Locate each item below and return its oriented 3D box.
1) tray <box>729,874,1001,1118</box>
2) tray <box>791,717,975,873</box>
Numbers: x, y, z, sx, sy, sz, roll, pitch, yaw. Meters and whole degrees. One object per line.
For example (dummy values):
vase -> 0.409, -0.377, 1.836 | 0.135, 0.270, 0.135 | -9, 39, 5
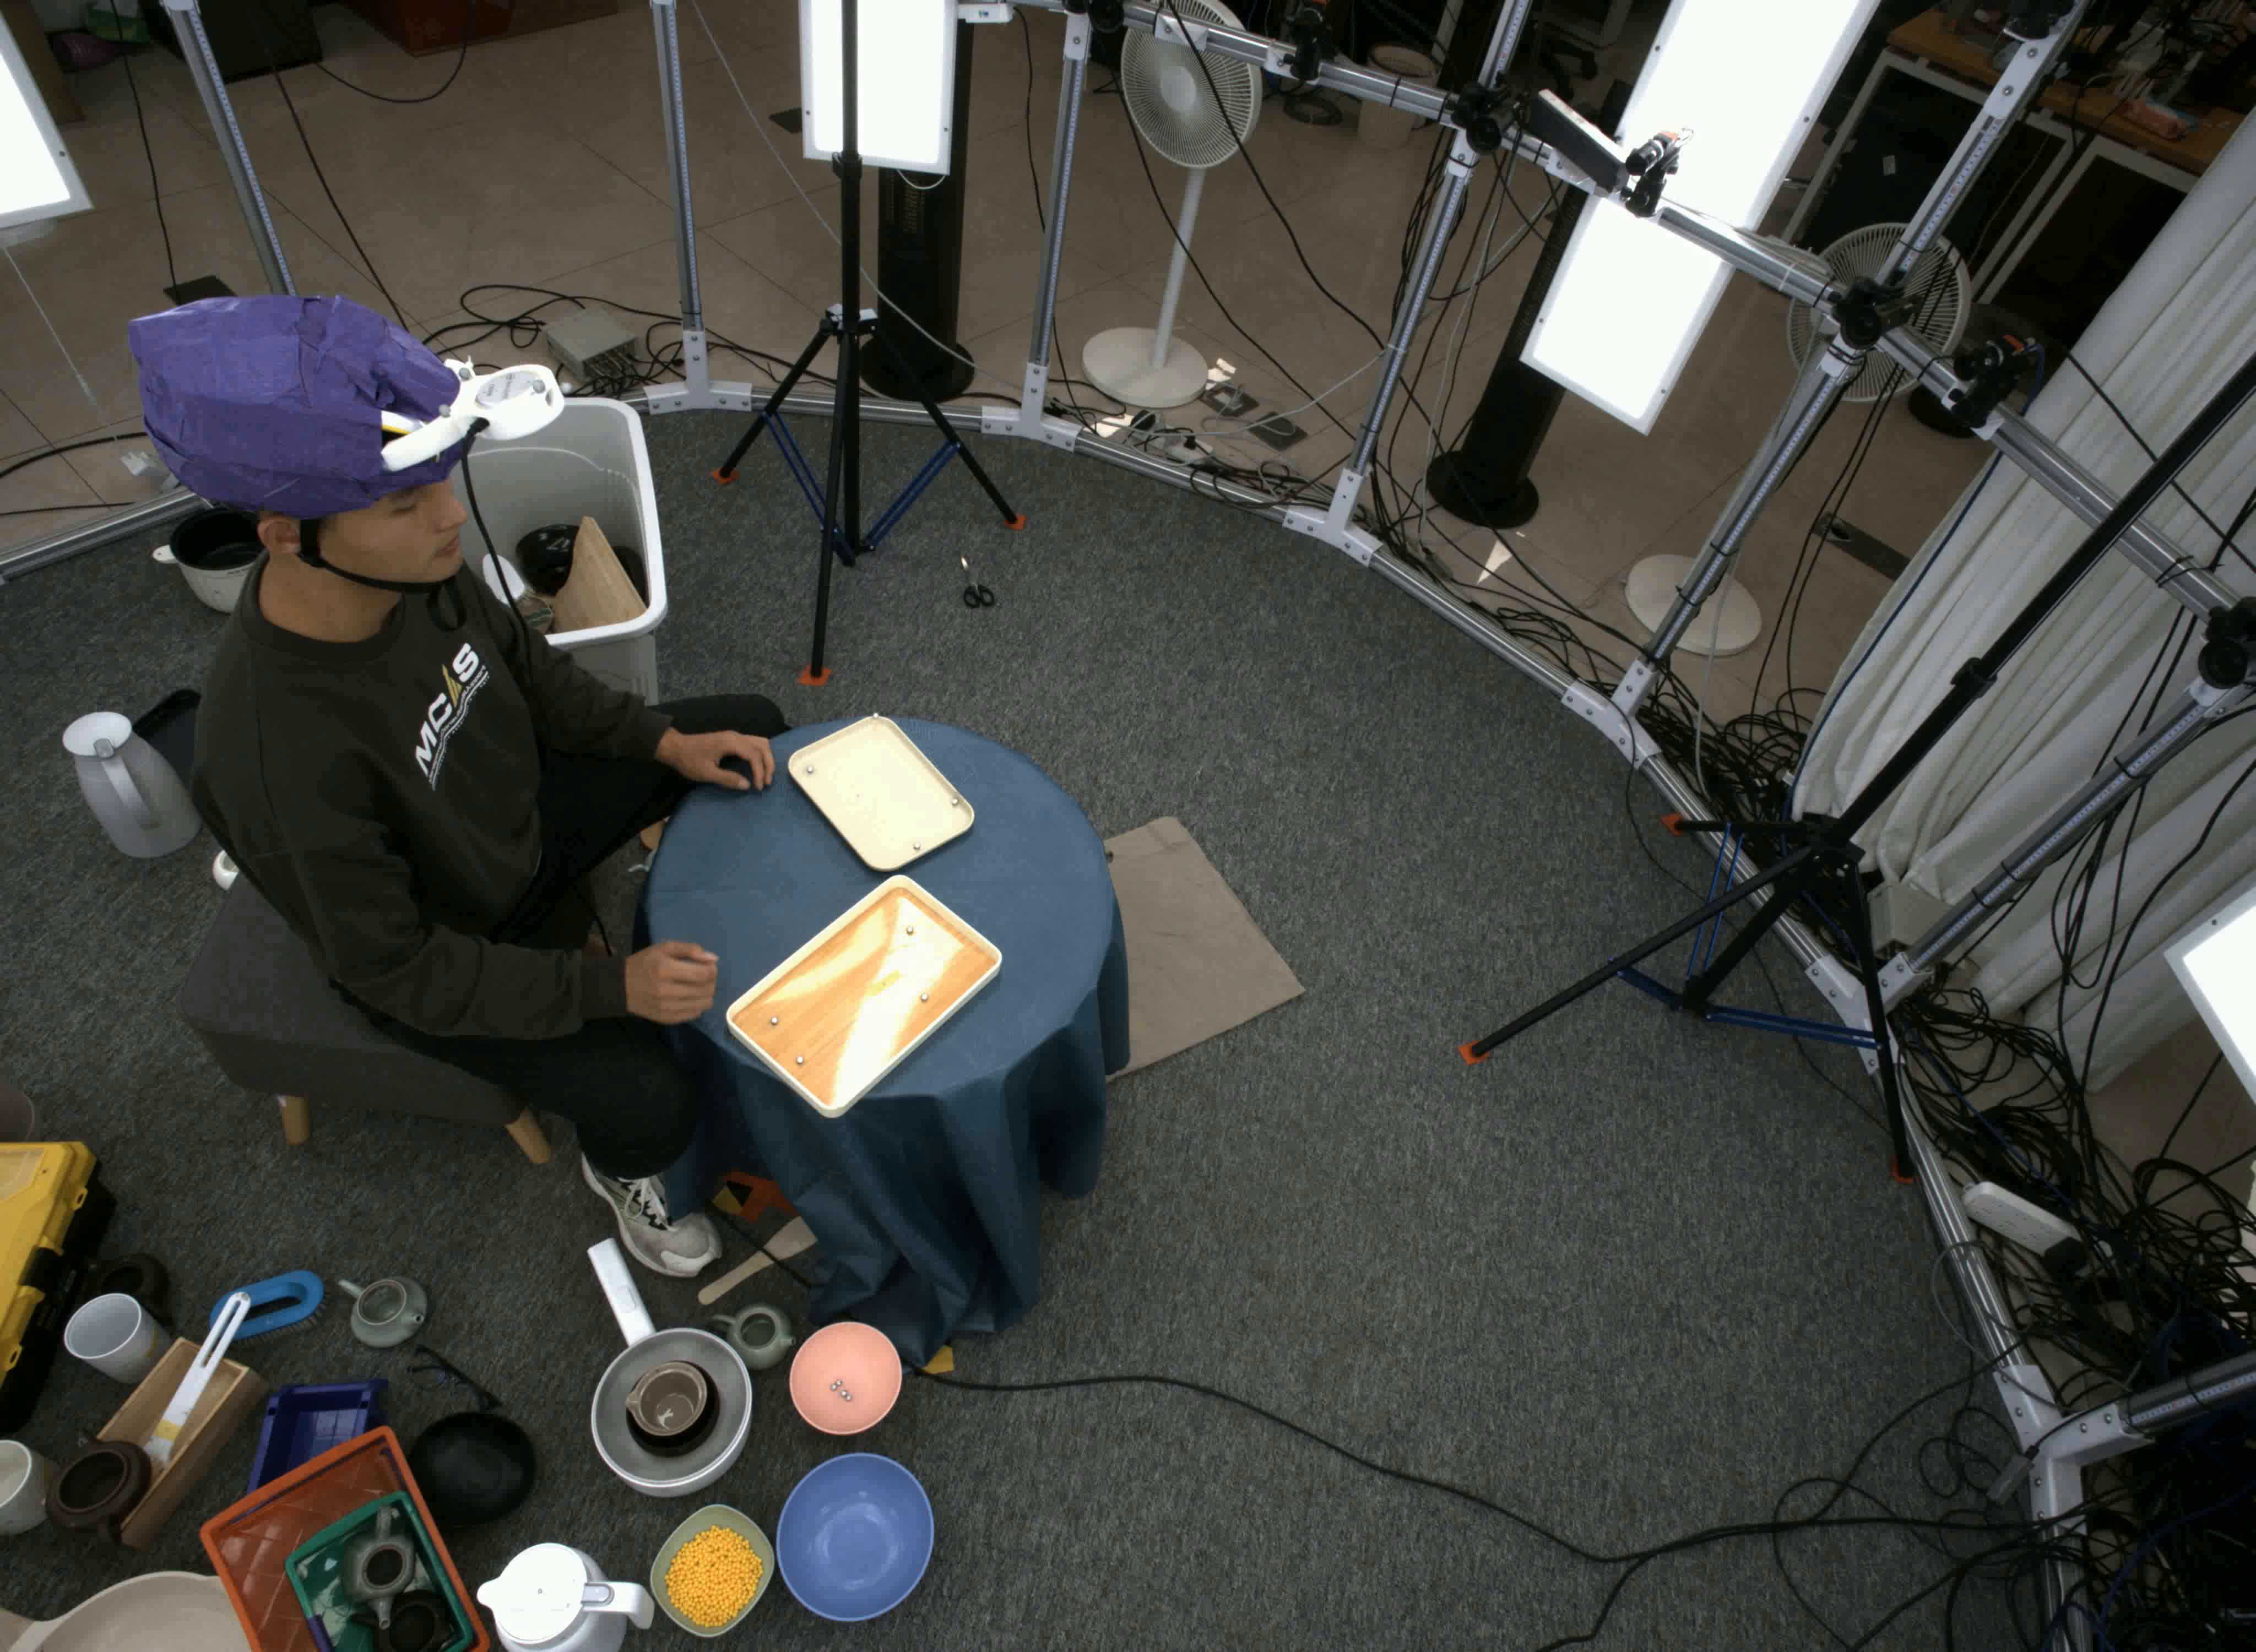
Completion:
tray -> -0.318, 0.198, 1.595 | 0.187, 0.028, 0.300 | 37, 54, 15
tray -> -0.335, -0.045, 1.779 | 0.172, 0.018, 0.234 | -32, 66, -30
